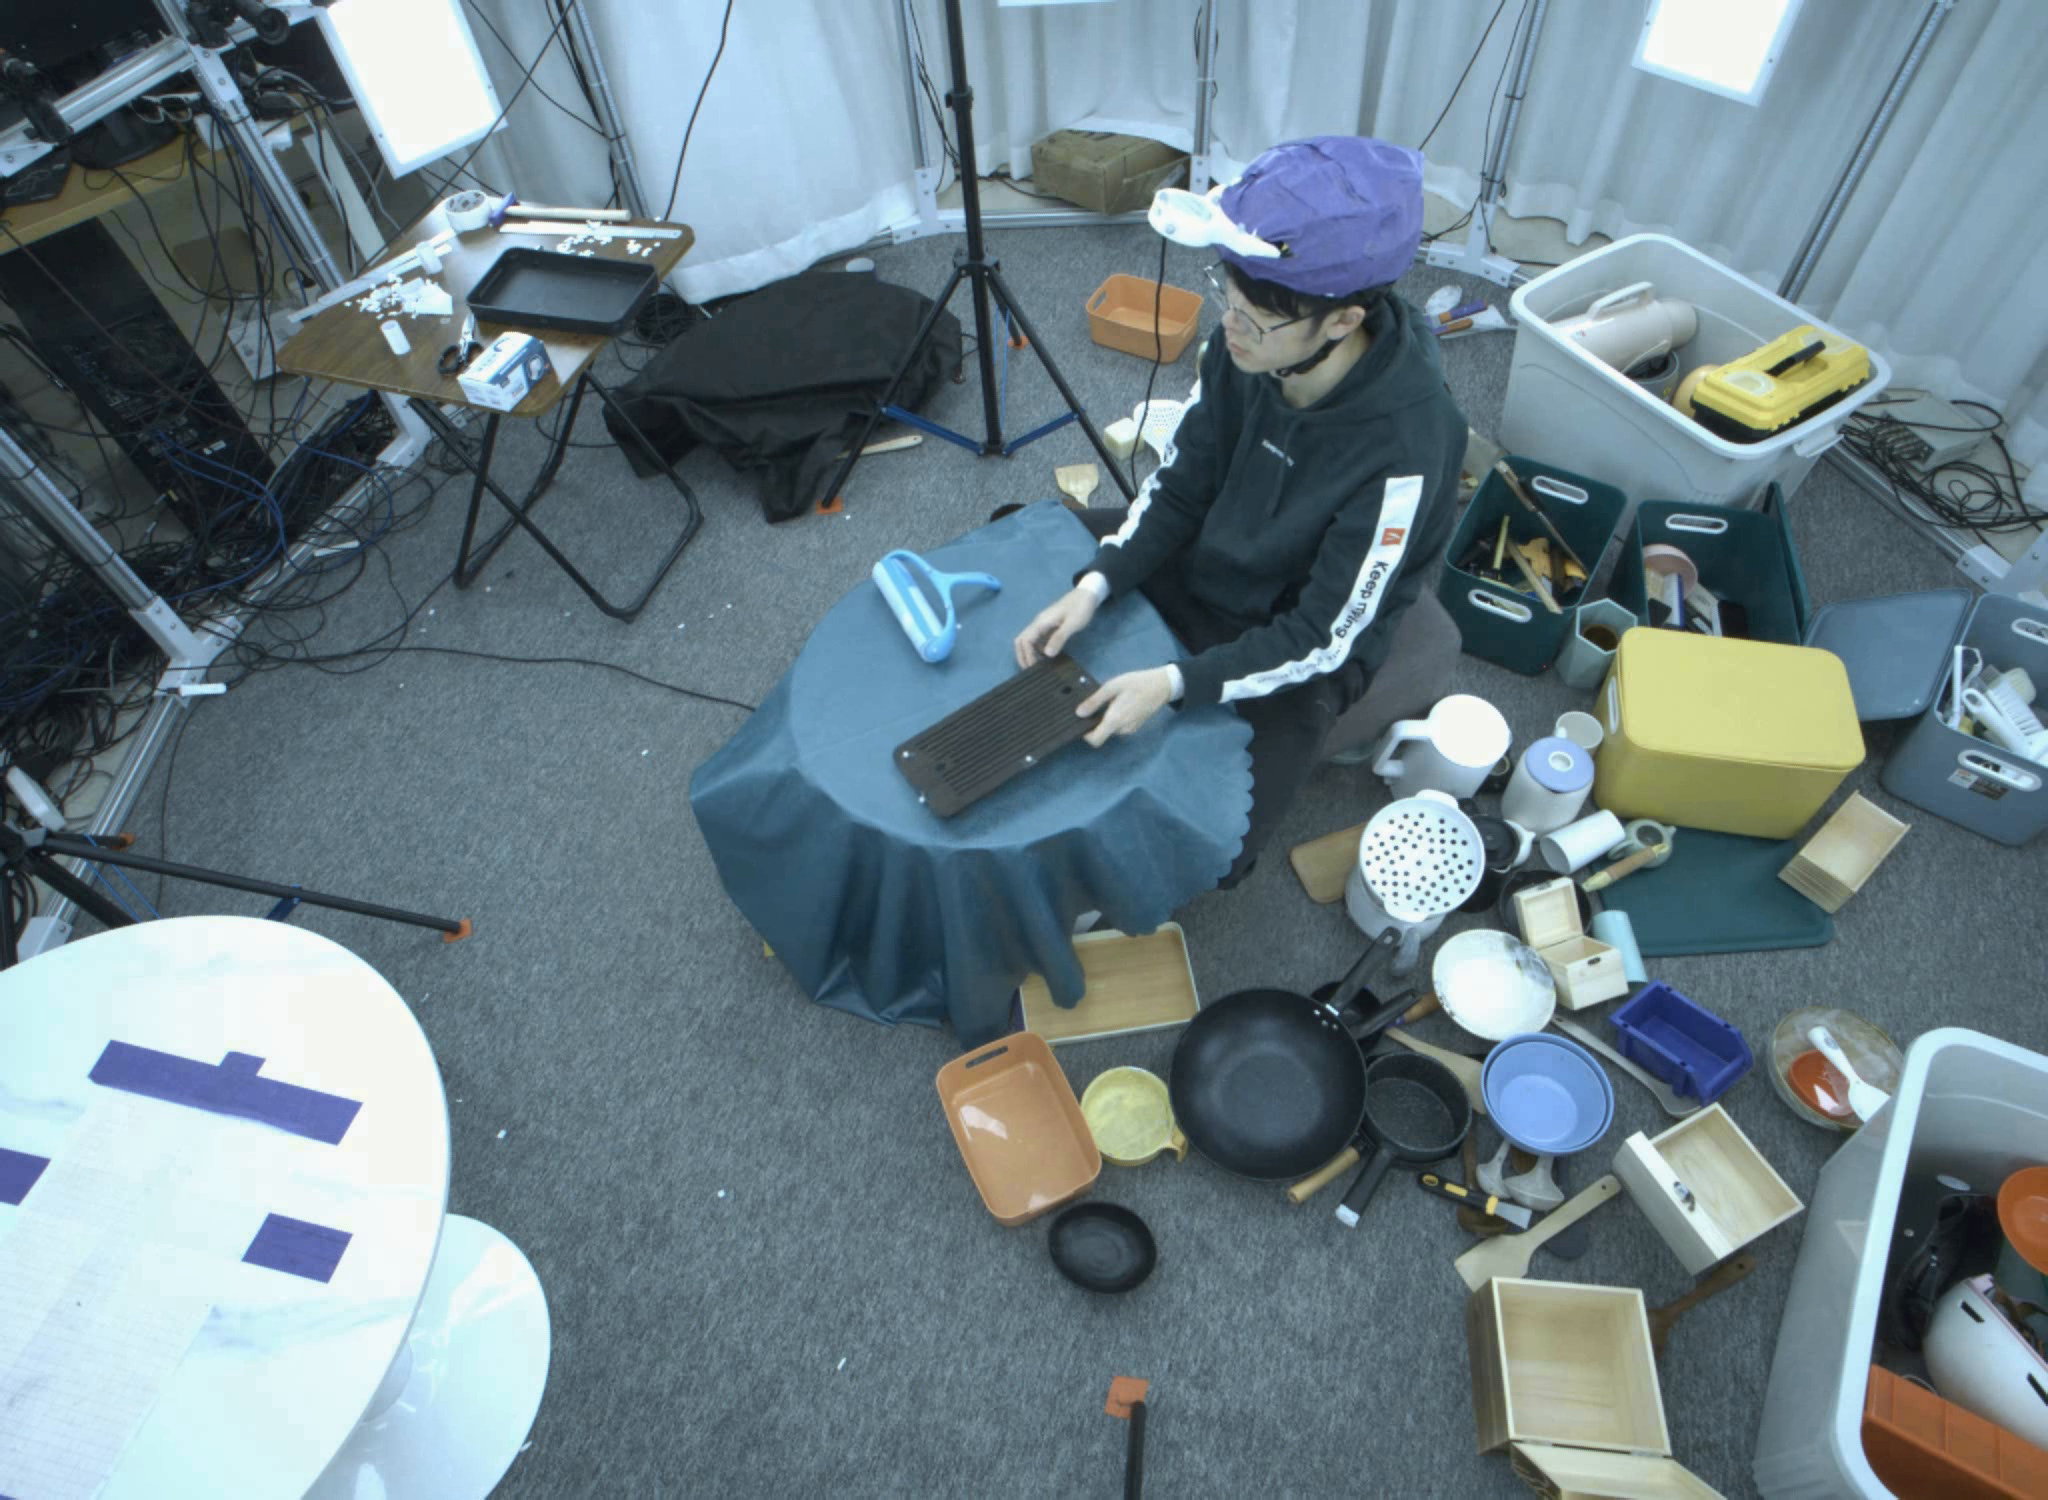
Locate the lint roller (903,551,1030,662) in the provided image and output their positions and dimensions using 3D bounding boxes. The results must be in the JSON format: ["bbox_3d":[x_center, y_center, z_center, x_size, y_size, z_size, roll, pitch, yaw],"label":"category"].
[{"bbox_3d":[-0.076,-0.246,1.924,0.181,0.069,0.224,-25,56,-14],"label":"lint roller"}]

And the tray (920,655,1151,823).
[{"bbox_3d":[0.016,-0.018,1.755,0.308,0.019,0.166,-30,48,-13],"label":"tray"}]
